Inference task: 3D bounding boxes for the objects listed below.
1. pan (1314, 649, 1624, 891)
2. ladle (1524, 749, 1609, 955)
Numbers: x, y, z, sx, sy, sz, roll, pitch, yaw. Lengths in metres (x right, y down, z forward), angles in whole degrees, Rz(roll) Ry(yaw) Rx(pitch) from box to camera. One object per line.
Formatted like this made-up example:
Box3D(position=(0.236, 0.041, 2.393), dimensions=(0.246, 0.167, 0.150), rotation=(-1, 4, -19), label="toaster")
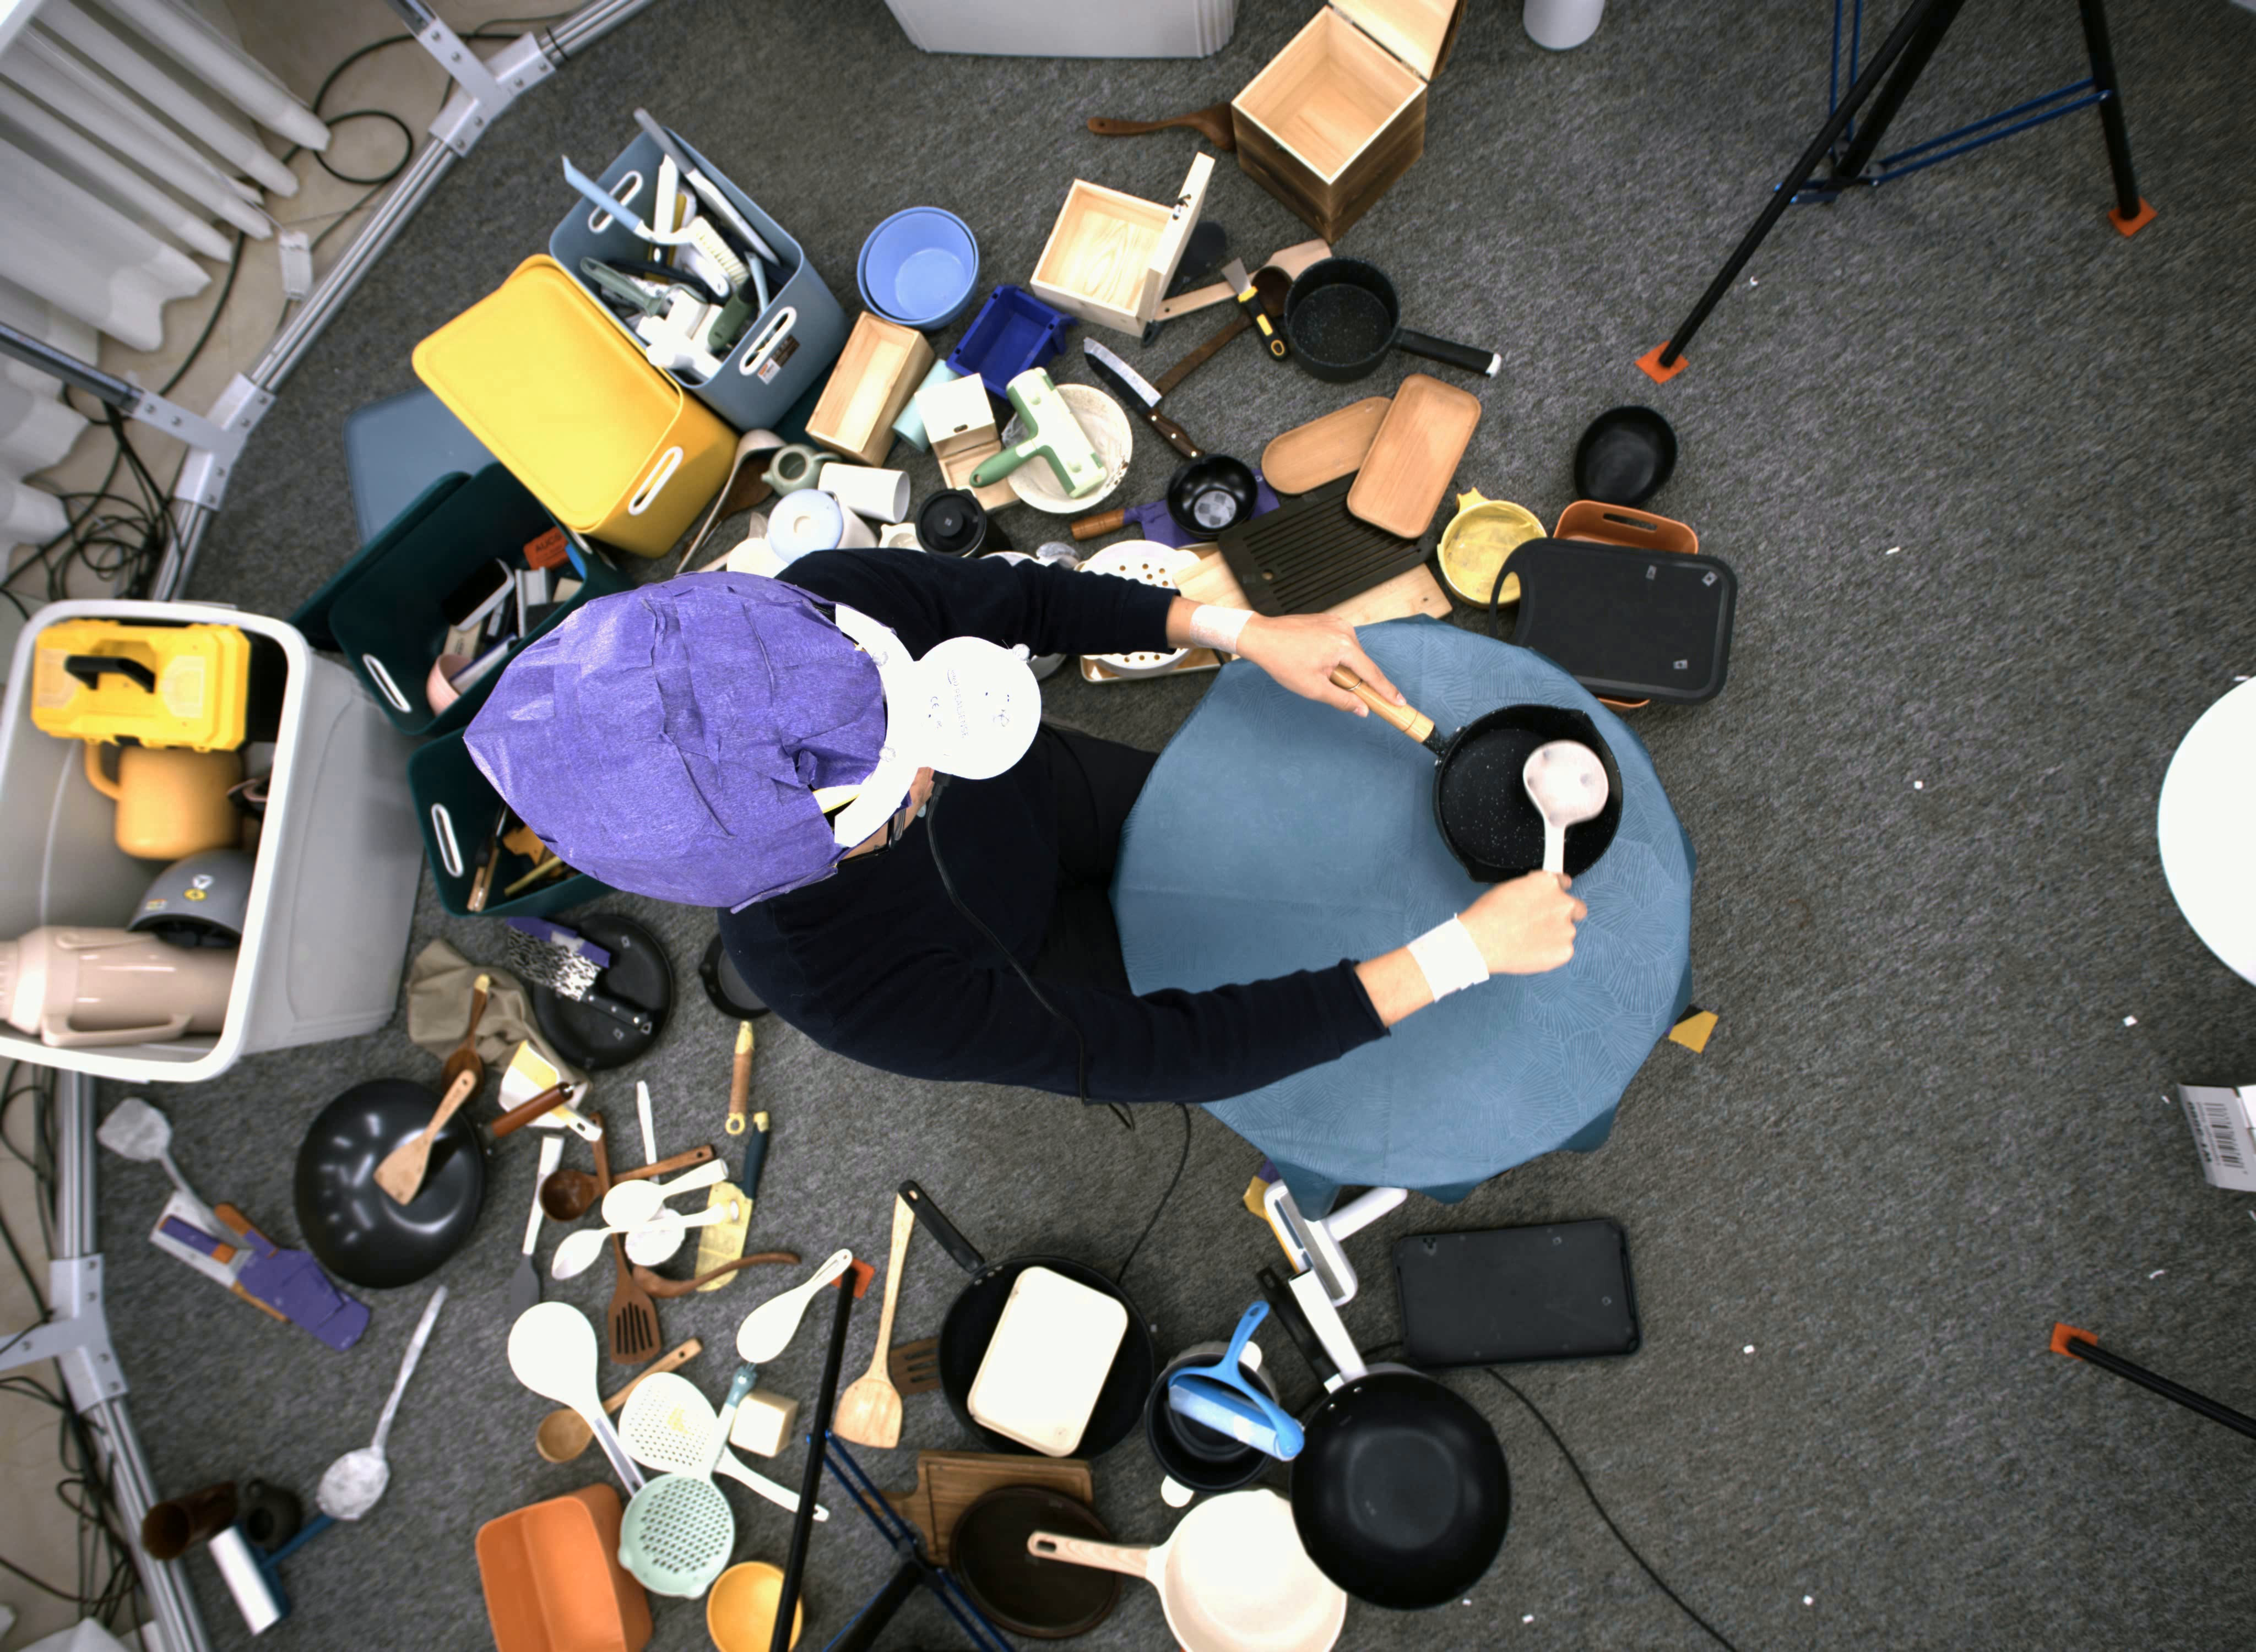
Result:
Box3D(position=(0.329, -0.072, 1.380), dimensions=(0.343, 0.108, 0.208), rotation=(31, 94, 0), label="pan")
Box3D(position=(0.412, 0.016, 1.294), dimensions=(0.089, 0.268, 0.071), rotation=(31, 126, -2), label="ladle")
